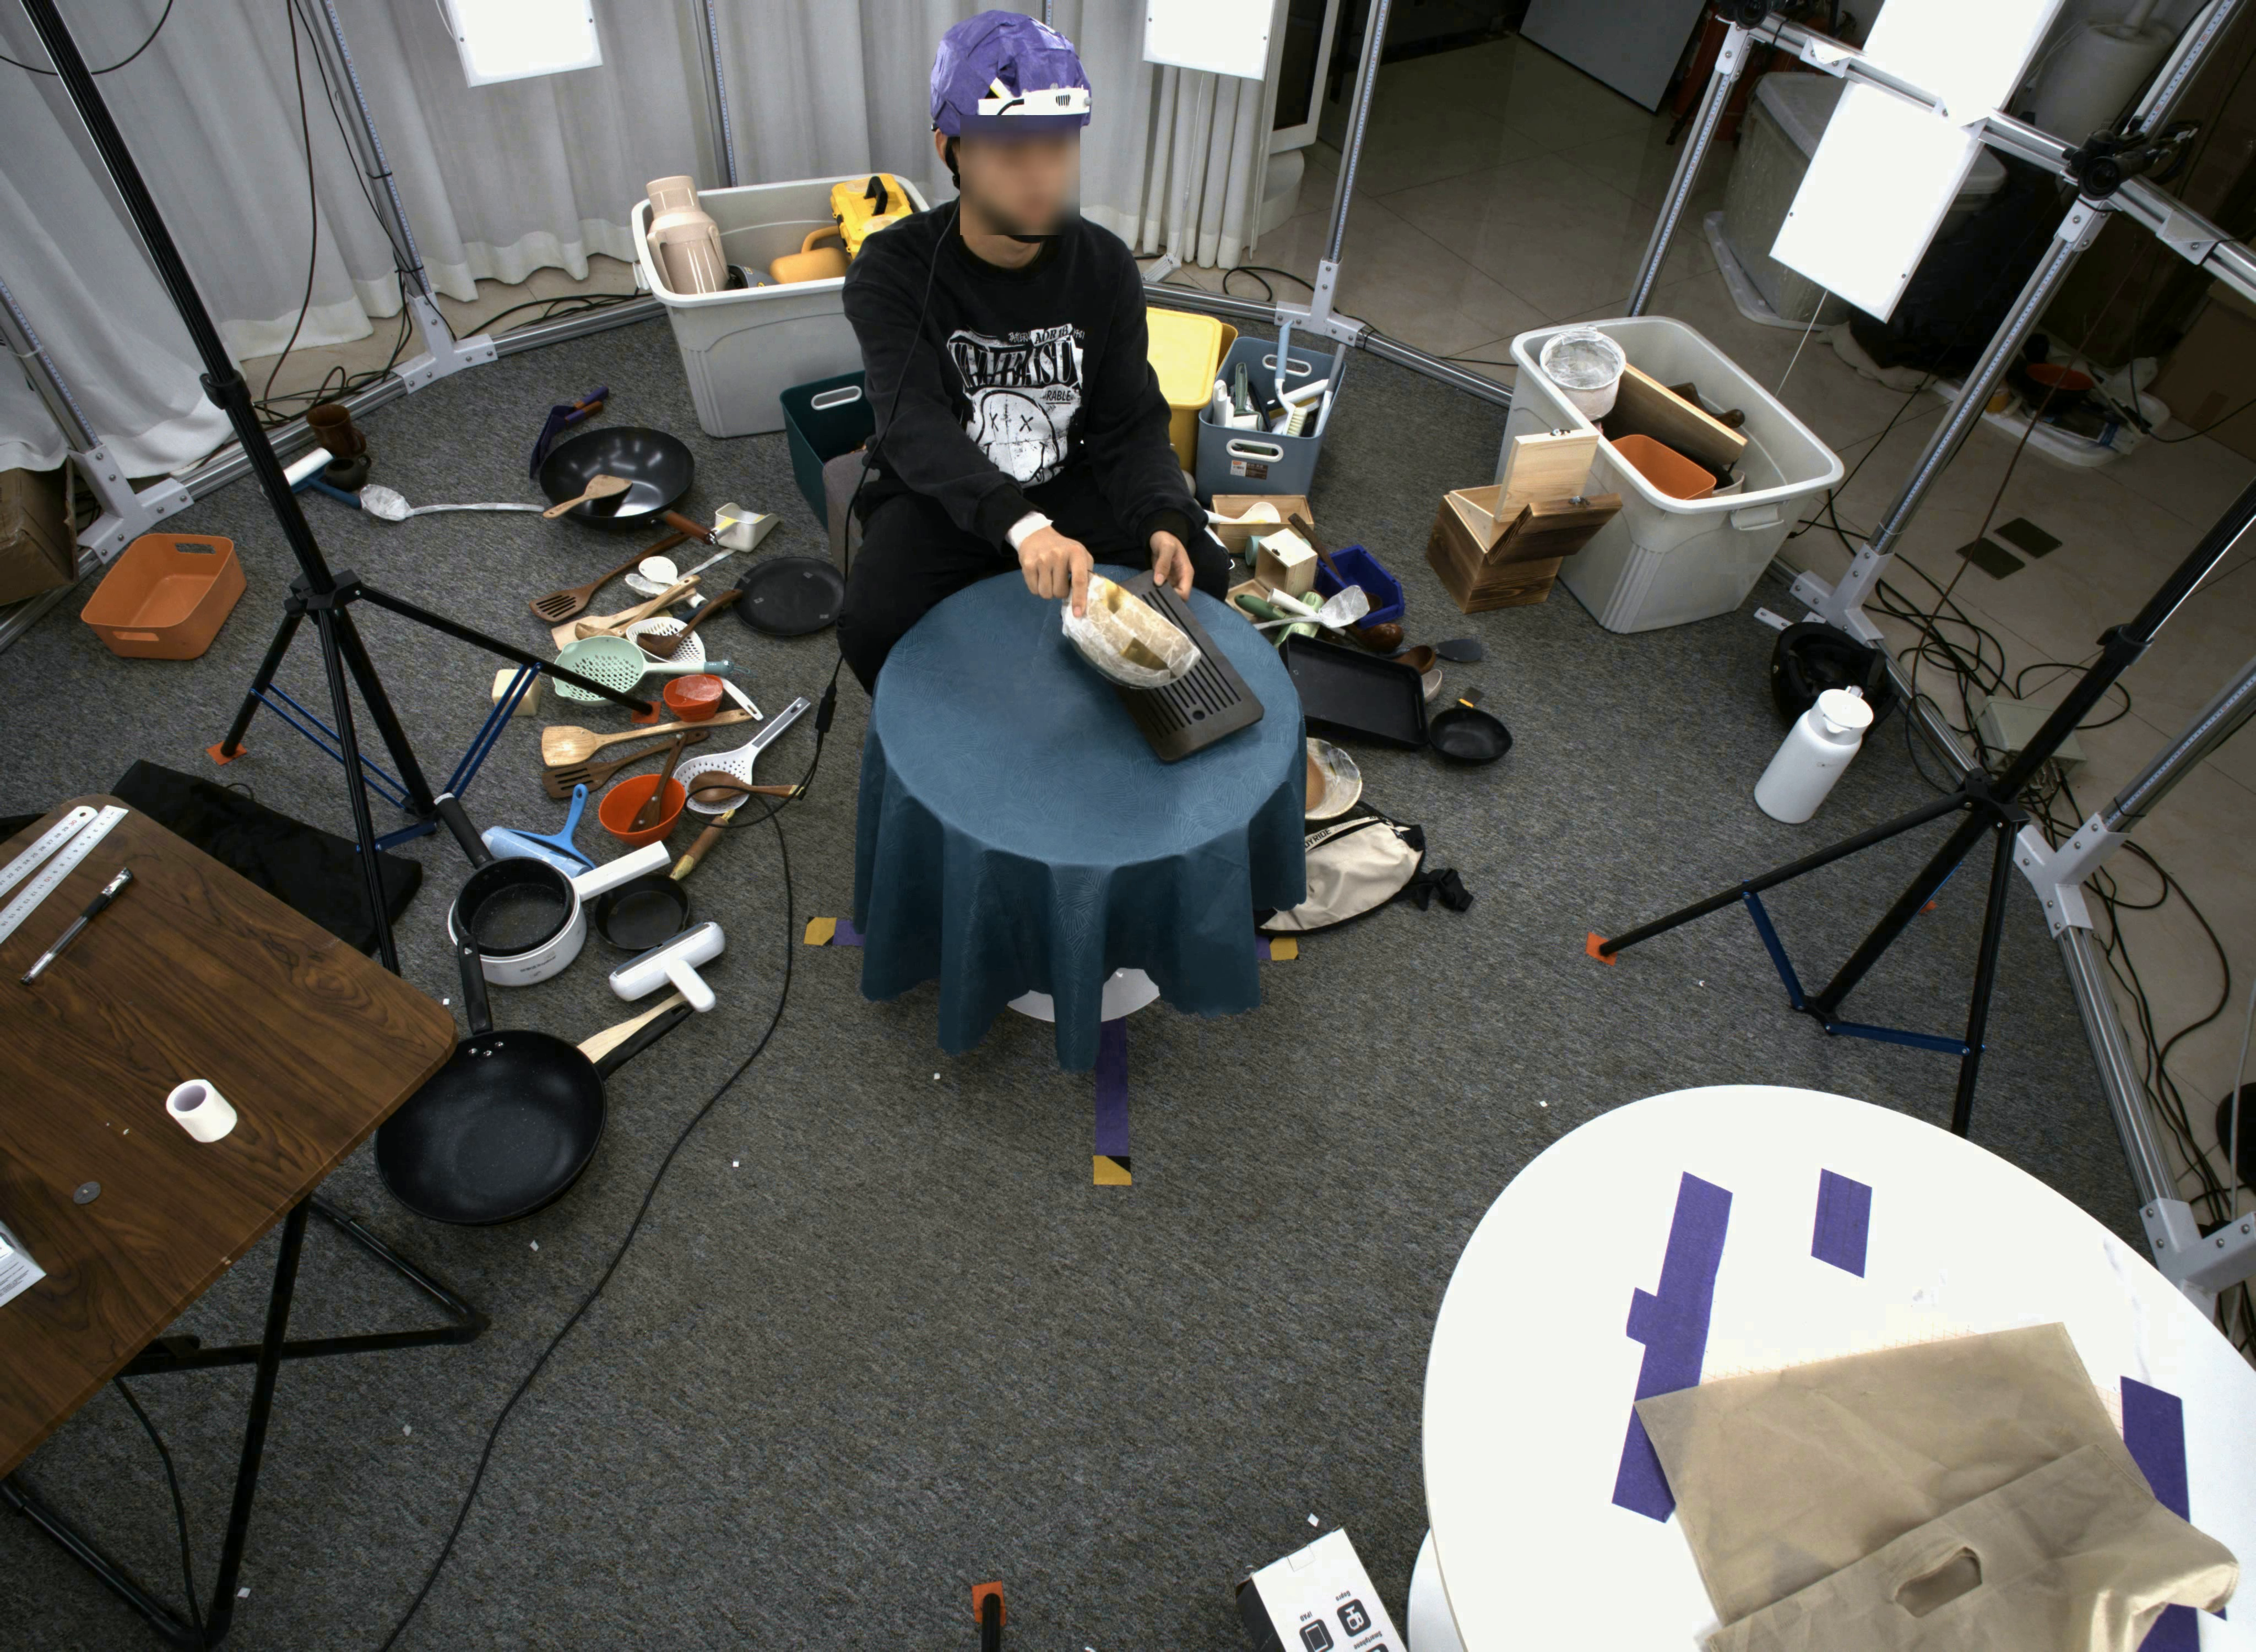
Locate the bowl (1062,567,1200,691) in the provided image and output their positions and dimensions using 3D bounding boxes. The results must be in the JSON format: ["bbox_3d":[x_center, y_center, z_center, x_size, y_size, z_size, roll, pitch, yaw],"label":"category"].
[{"bbox_3d":[-0.013,-0.243,1.705,0.217,0.212,0.094,34,89,23],"label":"bowl"}]

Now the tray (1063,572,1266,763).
[{"bbox_3d":[0.049,-0.232,1.846,0.170,0.018,0.312,-25,62,-16],"label":"tray"}]
